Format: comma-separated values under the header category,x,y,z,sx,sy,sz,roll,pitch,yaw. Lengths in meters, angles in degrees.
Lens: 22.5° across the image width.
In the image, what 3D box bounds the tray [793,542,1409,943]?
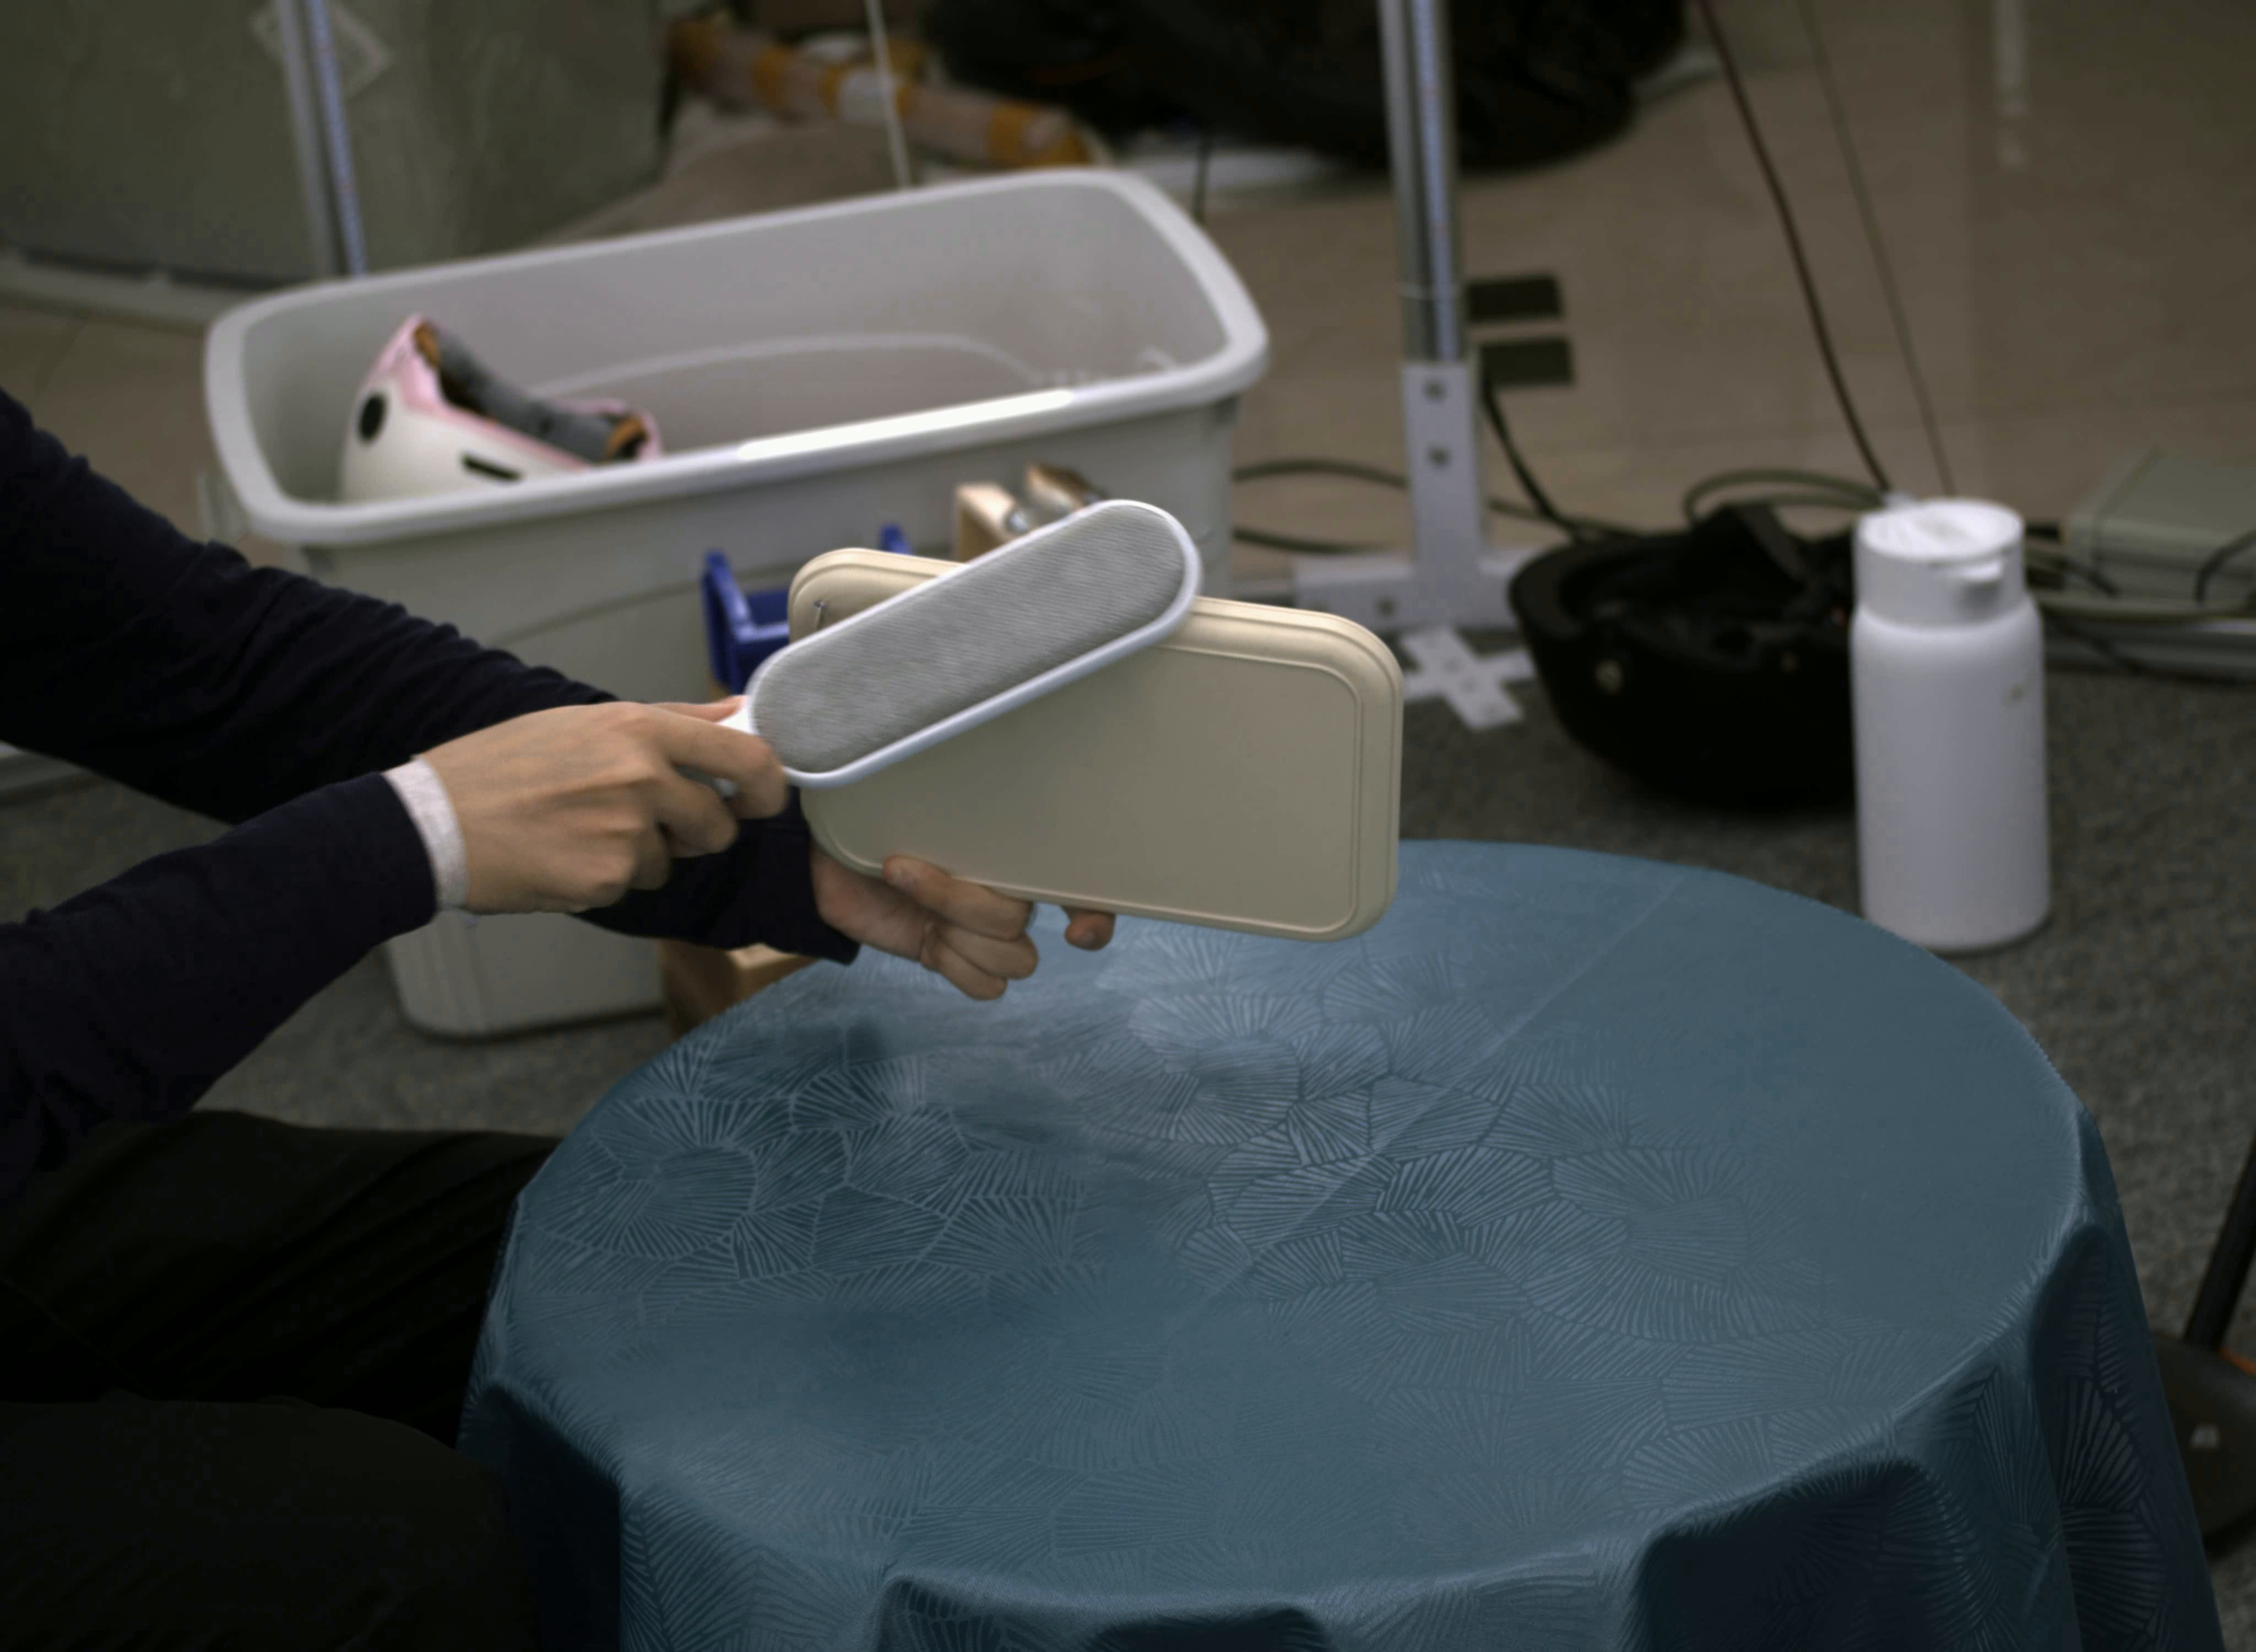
category,x,y,z,sx,sy,sz,roll,pitch,yaw
tray,-0.013,-0.028,2.174,0.239,0.174,0.017,9,47,8

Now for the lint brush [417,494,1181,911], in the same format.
category,x,y,z,sx,sy,sz,roll,pitch,yaw
lint brush,-0.122,-0.043,2.095,0.308,0.060,0.021,-25,-11,-3
